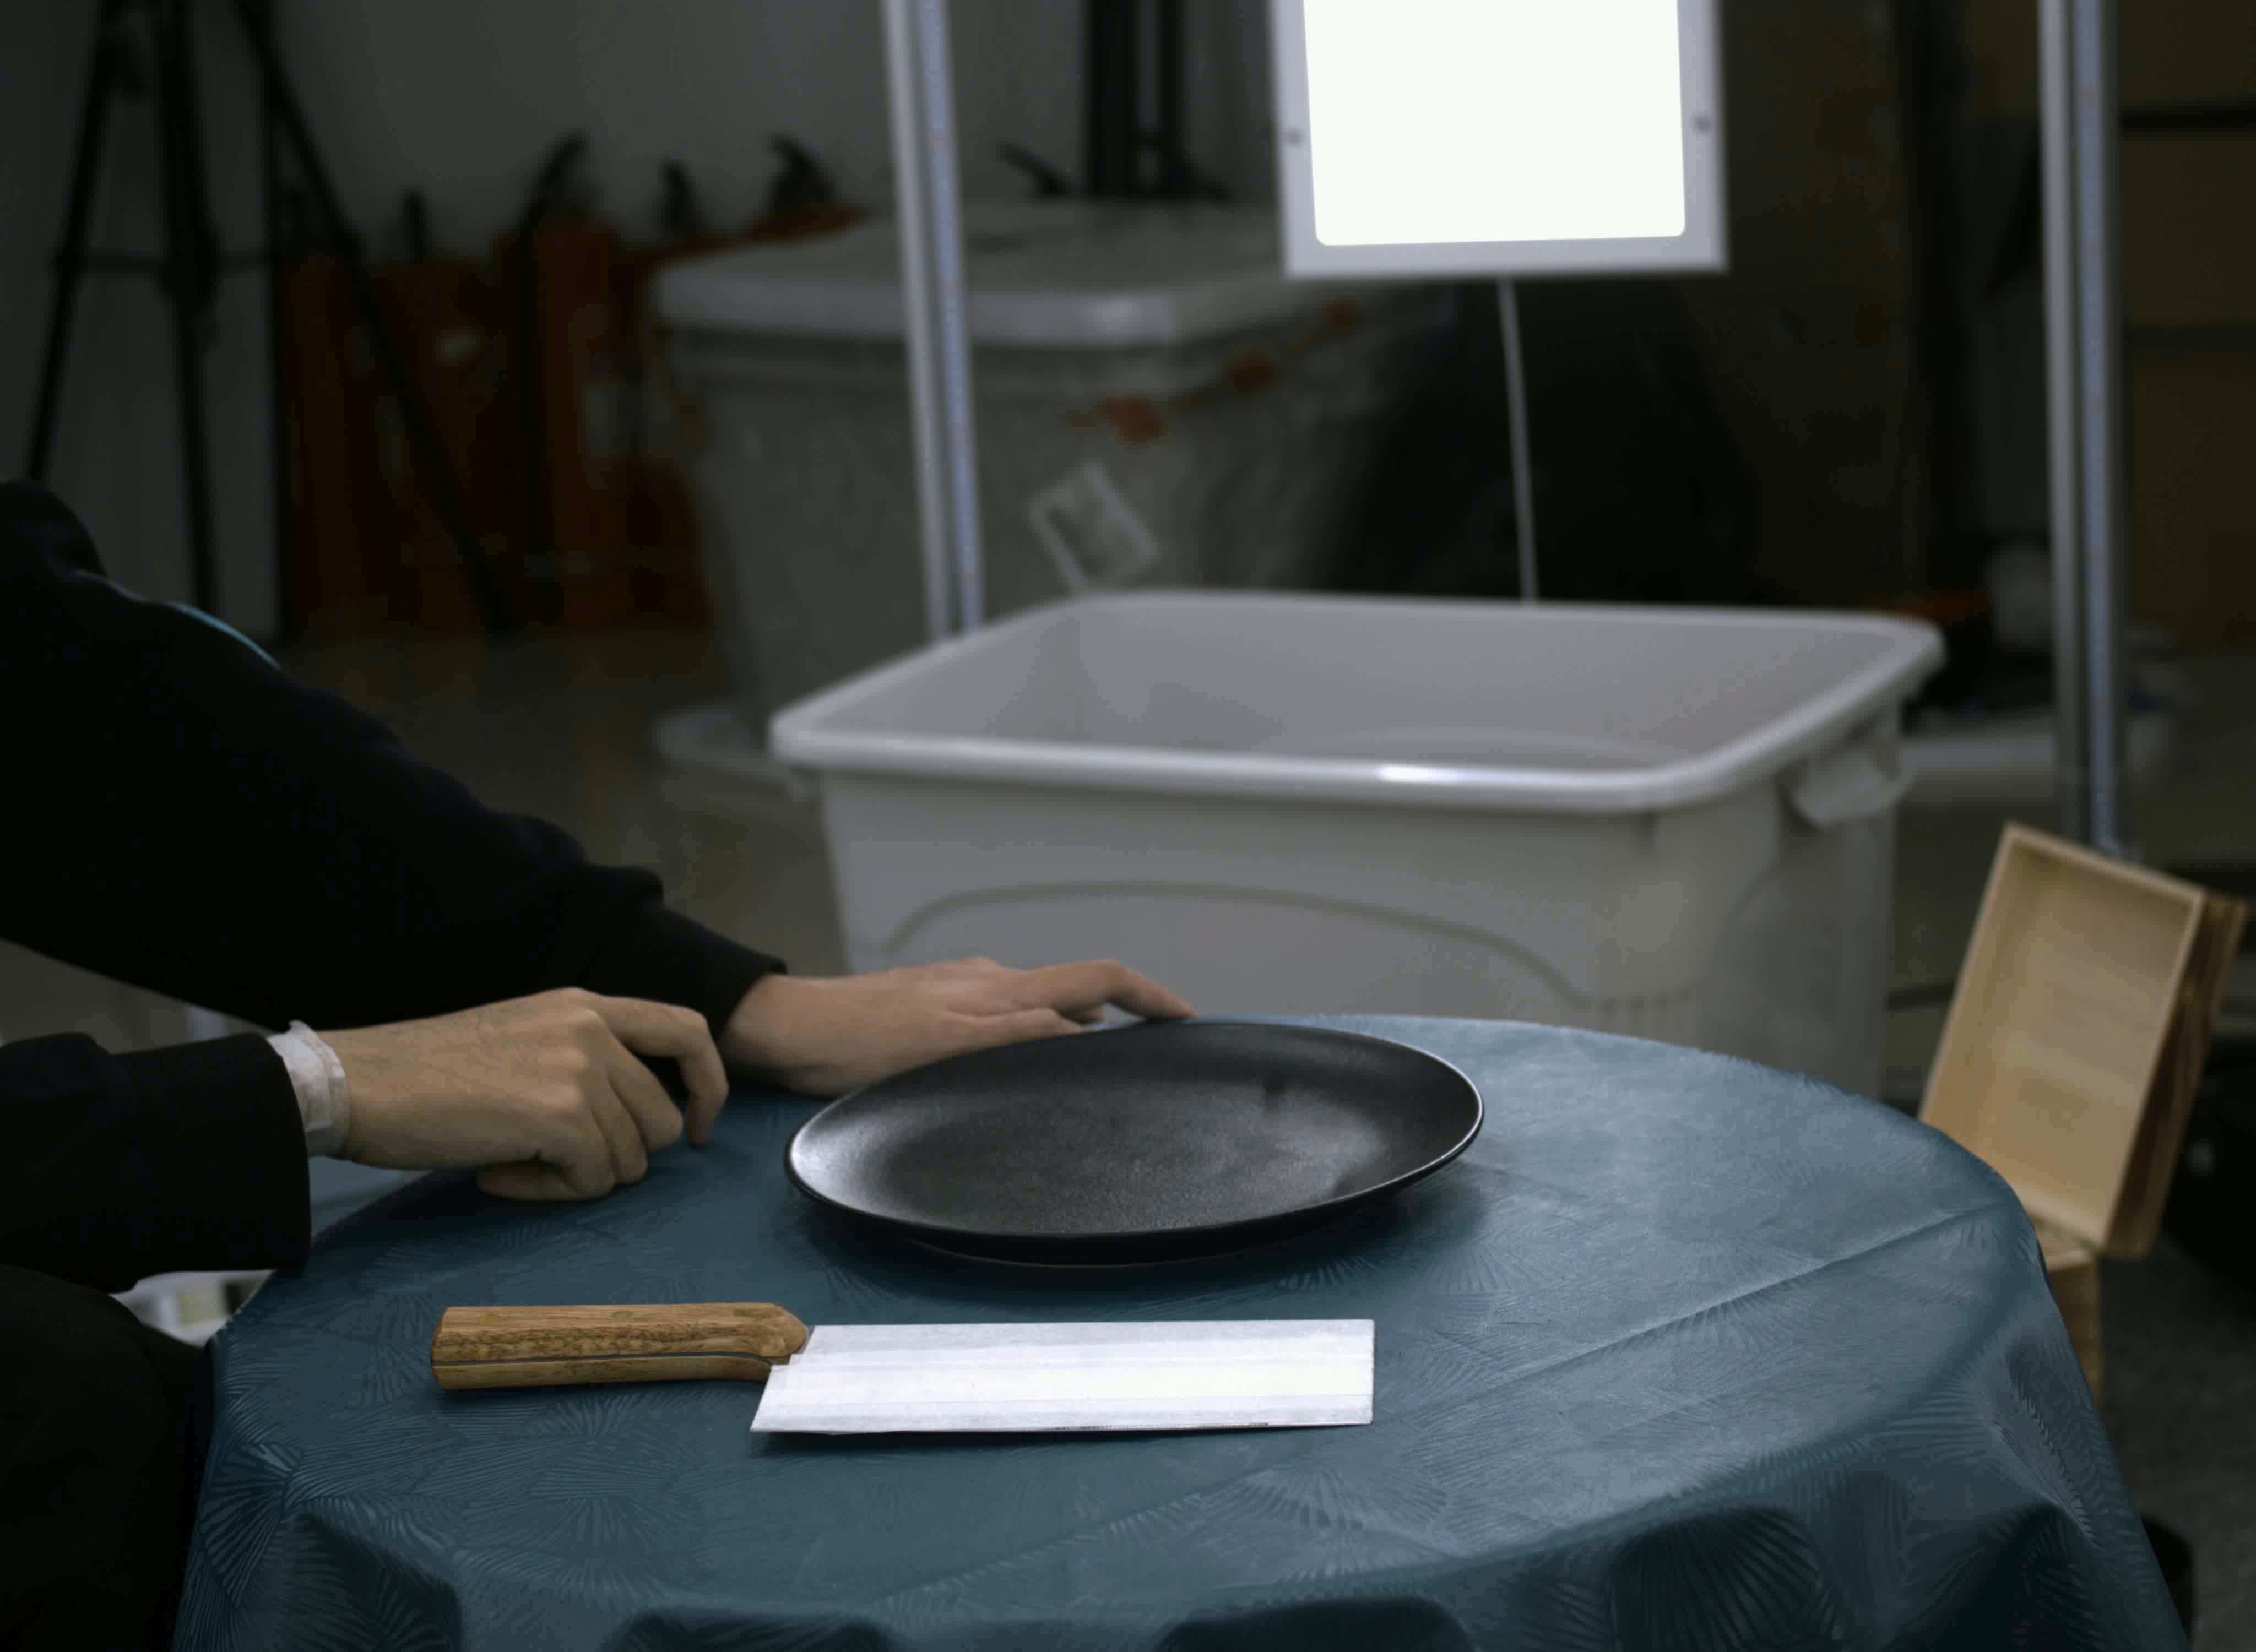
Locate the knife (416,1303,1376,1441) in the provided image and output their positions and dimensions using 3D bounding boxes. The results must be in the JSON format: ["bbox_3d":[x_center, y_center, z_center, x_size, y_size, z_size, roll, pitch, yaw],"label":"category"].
[{"bbox_3d":[-0.075,0.171,1.713,0.306,0.021,0.092,-1,15,6],"label":"knife"}]

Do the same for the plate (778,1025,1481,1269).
[{"bbox_3d":[0.001,0.113,1.901,0.244,0.023,0.244,-5,14,0],"label":"plate"}]
